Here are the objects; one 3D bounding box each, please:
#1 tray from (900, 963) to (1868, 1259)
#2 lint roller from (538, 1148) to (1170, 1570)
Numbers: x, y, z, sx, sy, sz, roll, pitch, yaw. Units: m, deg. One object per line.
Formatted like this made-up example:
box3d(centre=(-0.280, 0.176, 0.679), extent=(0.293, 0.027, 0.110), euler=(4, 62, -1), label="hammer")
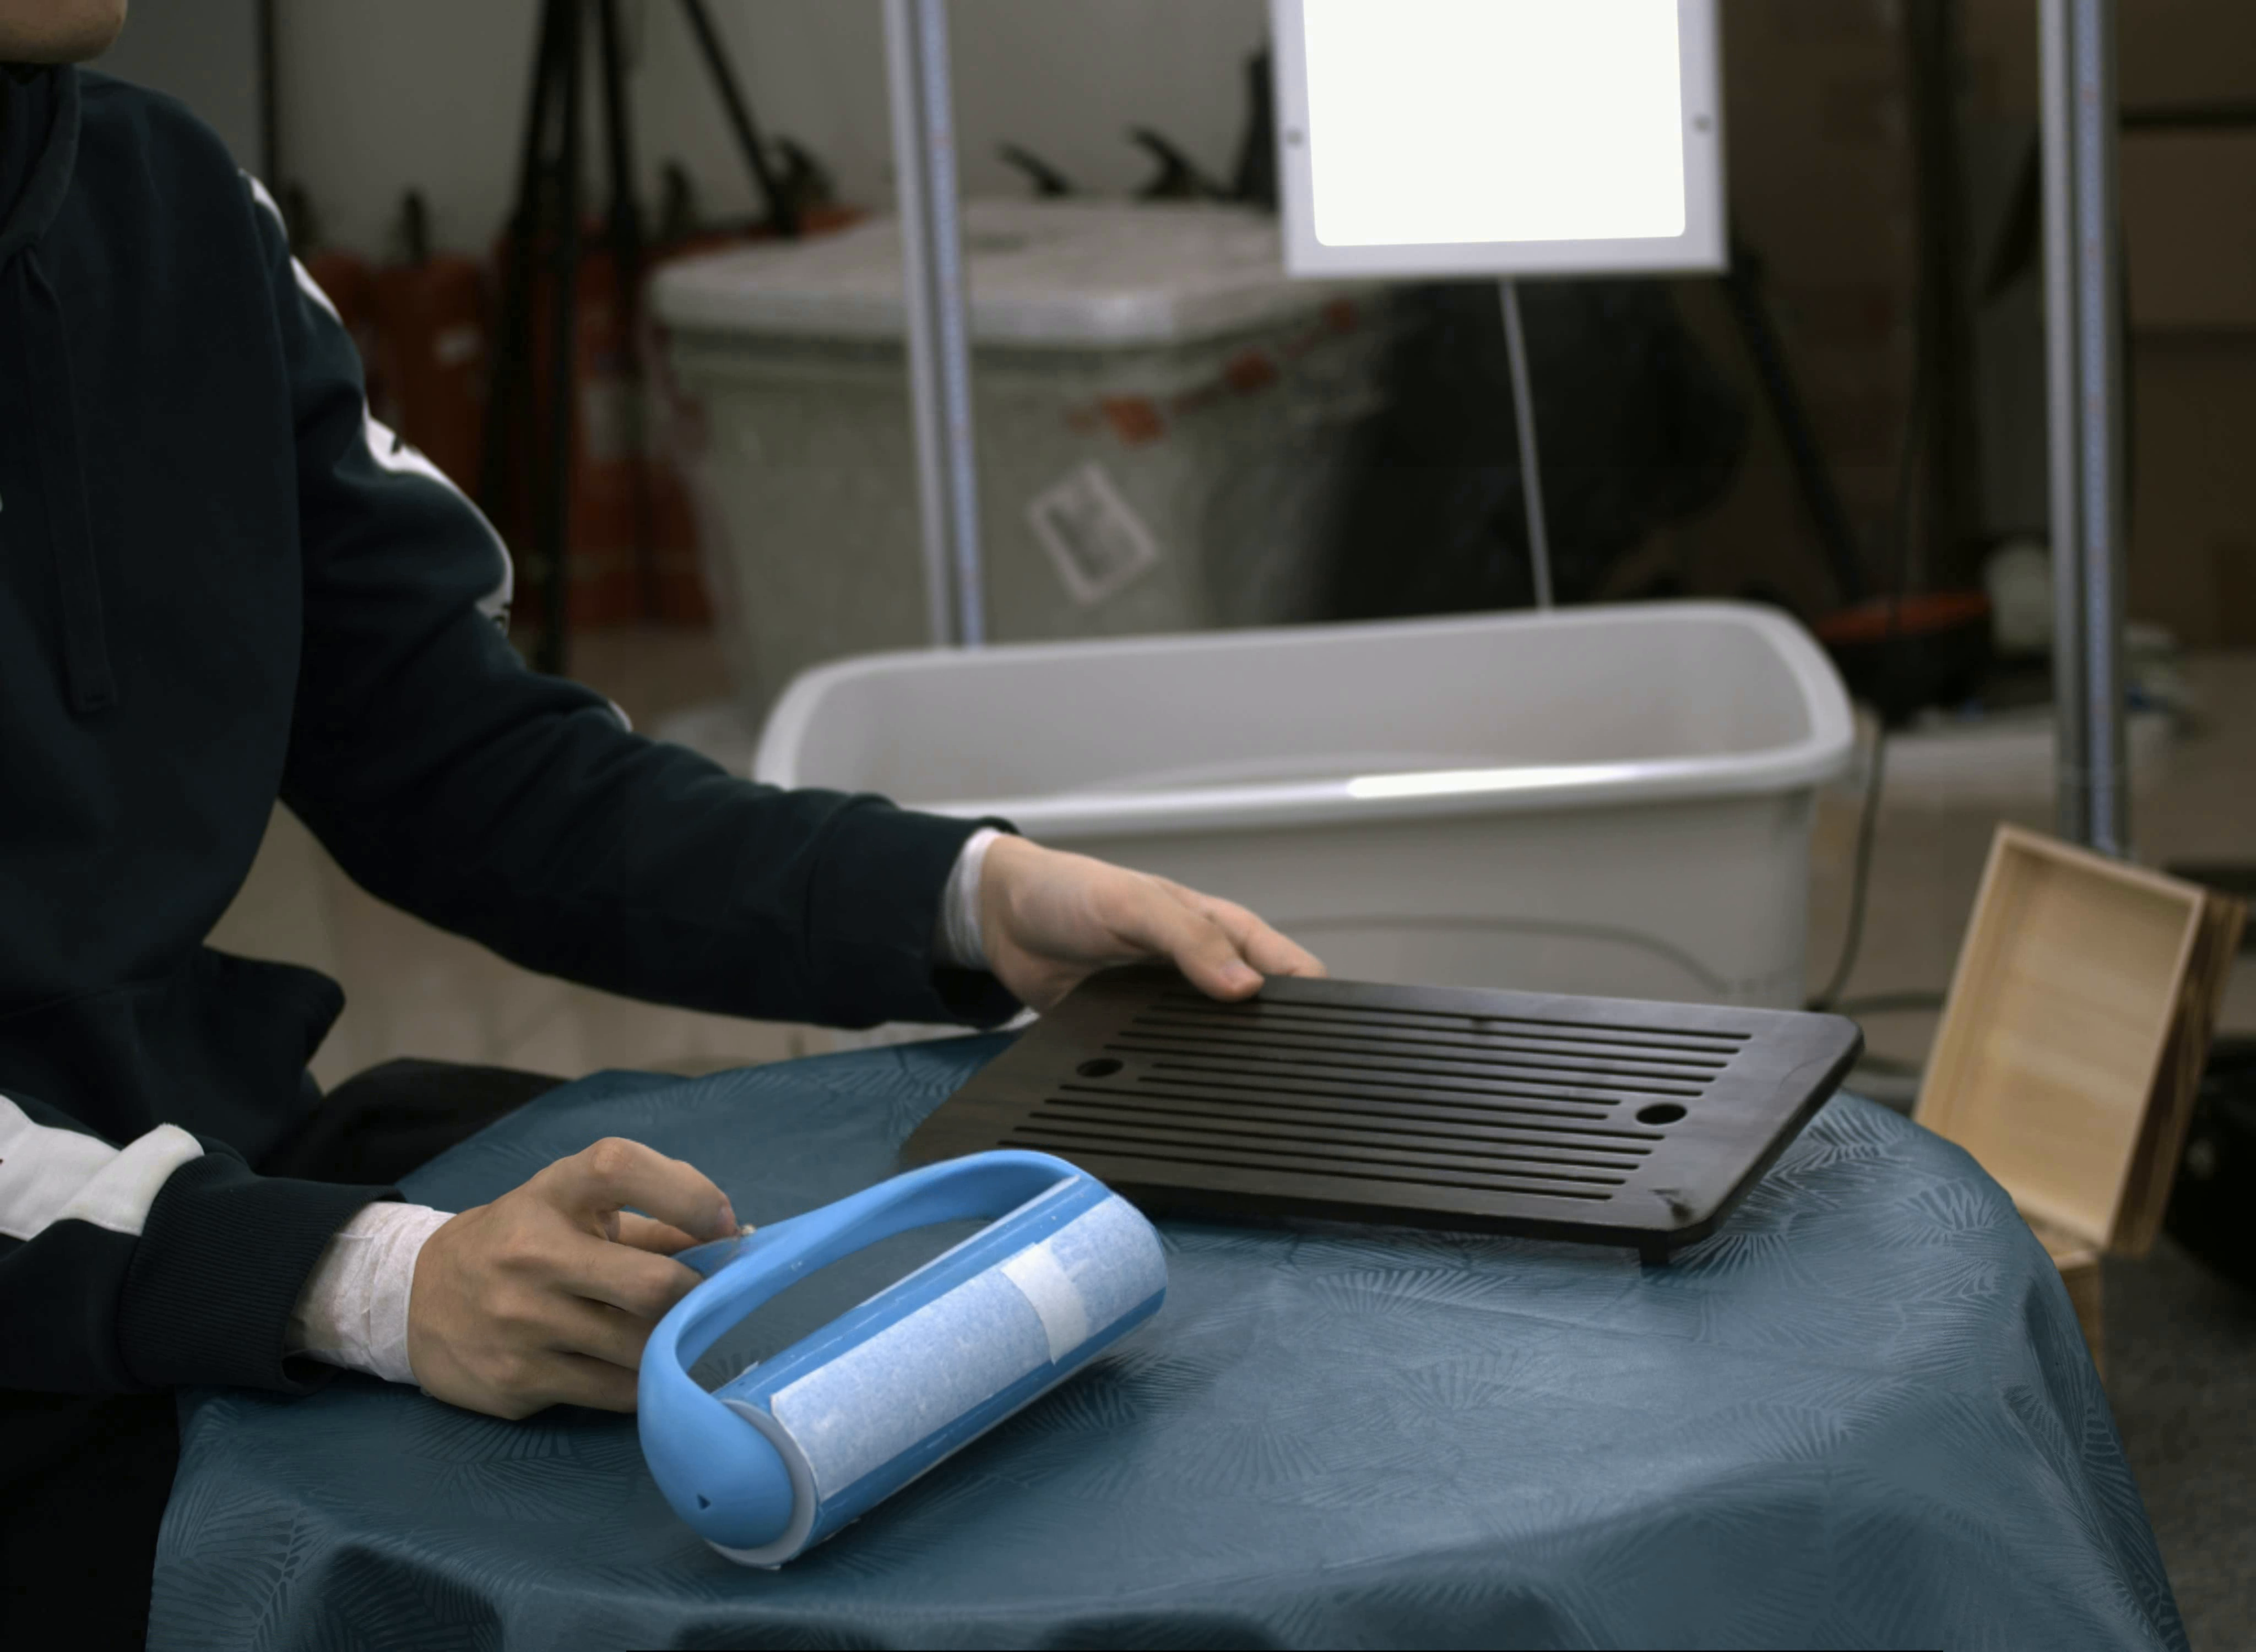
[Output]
box3d(centre=(0.089, 0.096, 1.900), extent=(0.311, 0.018, 0.166), euler=(3, 25, 30), label="tray")
box3d(centre=(-0.110, 0.156, 1.682), extent=(0.184, 0.068, 0.224), euler=(3, 20, 31), label="lint roller")
